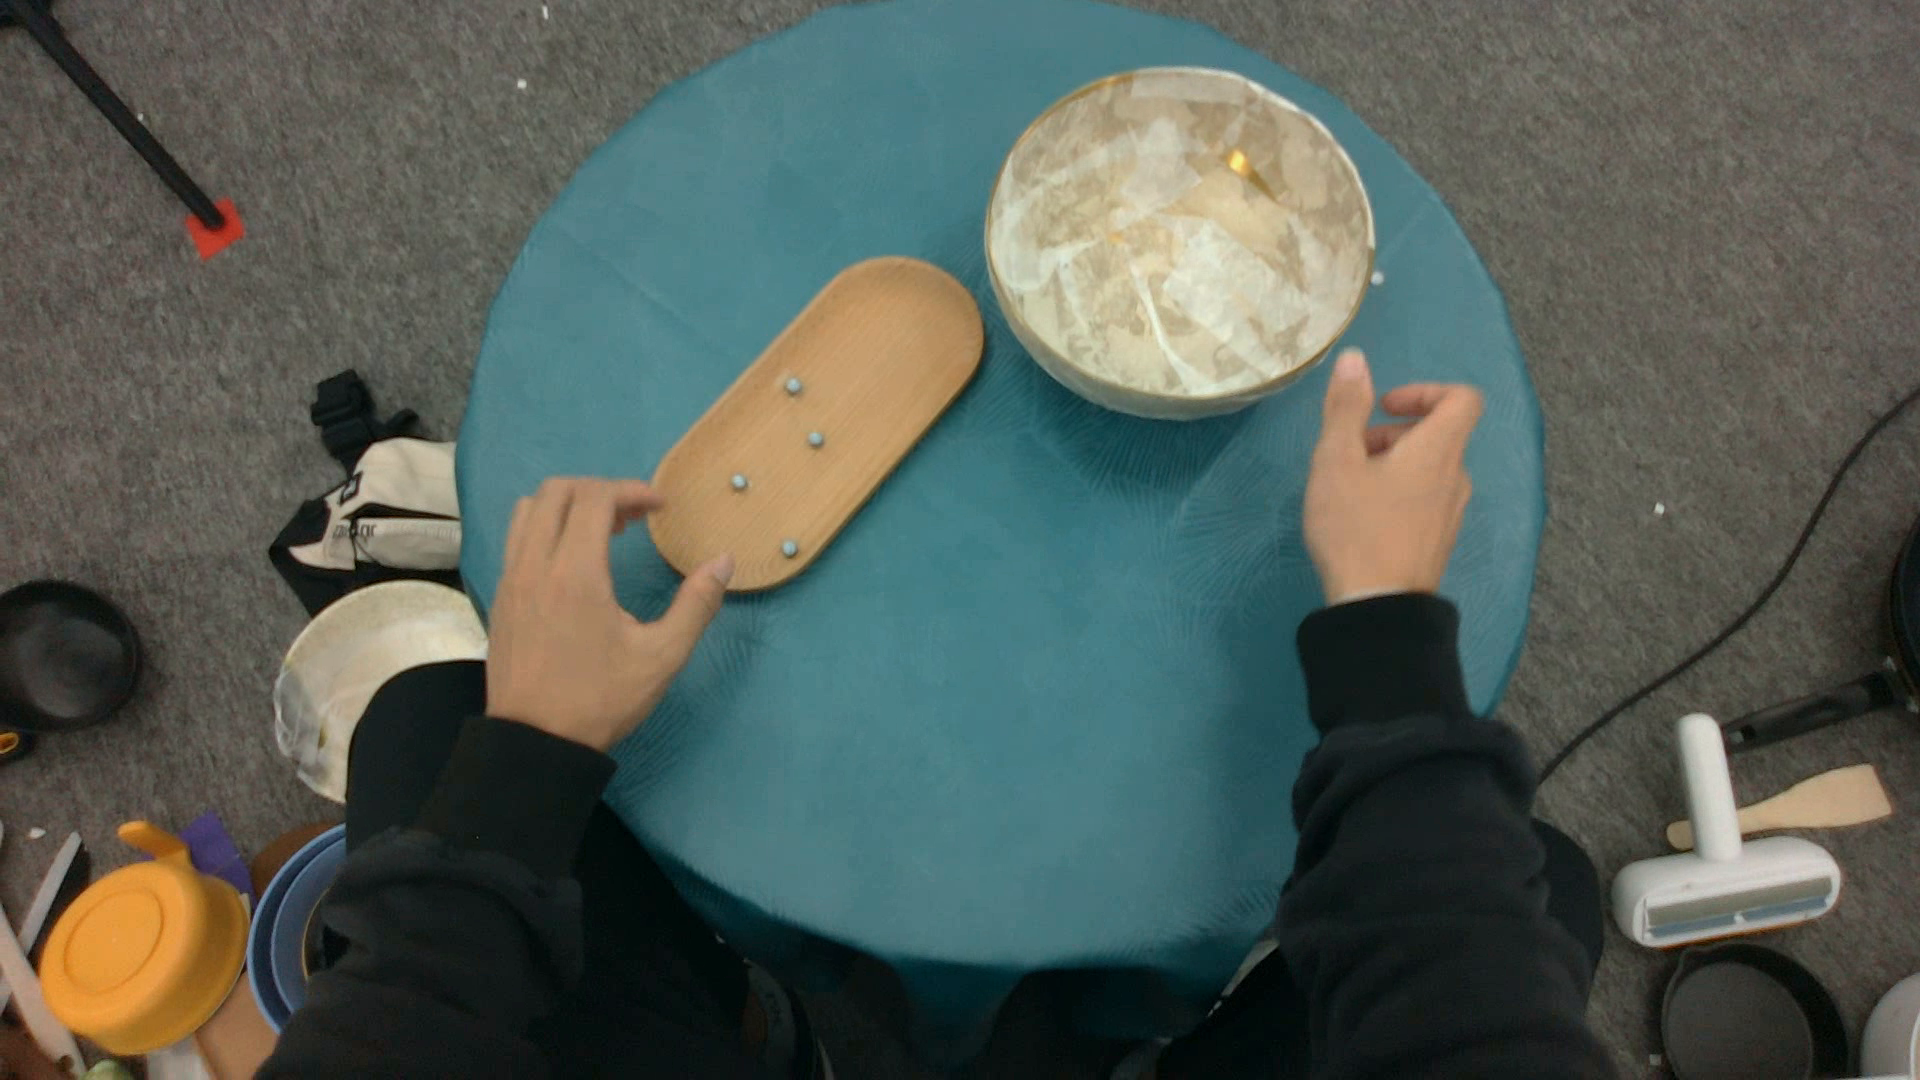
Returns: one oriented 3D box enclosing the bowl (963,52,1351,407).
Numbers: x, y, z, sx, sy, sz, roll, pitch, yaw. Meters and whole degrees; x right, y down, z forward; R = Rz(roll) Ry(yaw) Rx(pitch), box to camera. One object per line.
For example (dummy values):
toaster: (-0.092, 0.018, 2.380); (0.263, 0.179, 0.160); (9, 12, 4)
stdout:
bowl: (0.098, -0.154, 0.753); (0.215, 0.094, 0.215); (1, 71, -3)

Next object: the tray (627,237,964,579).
tray: (-0.088, -0.075, 0.759); (0.102, 0.020, 0.232); (36, 71, 8)
